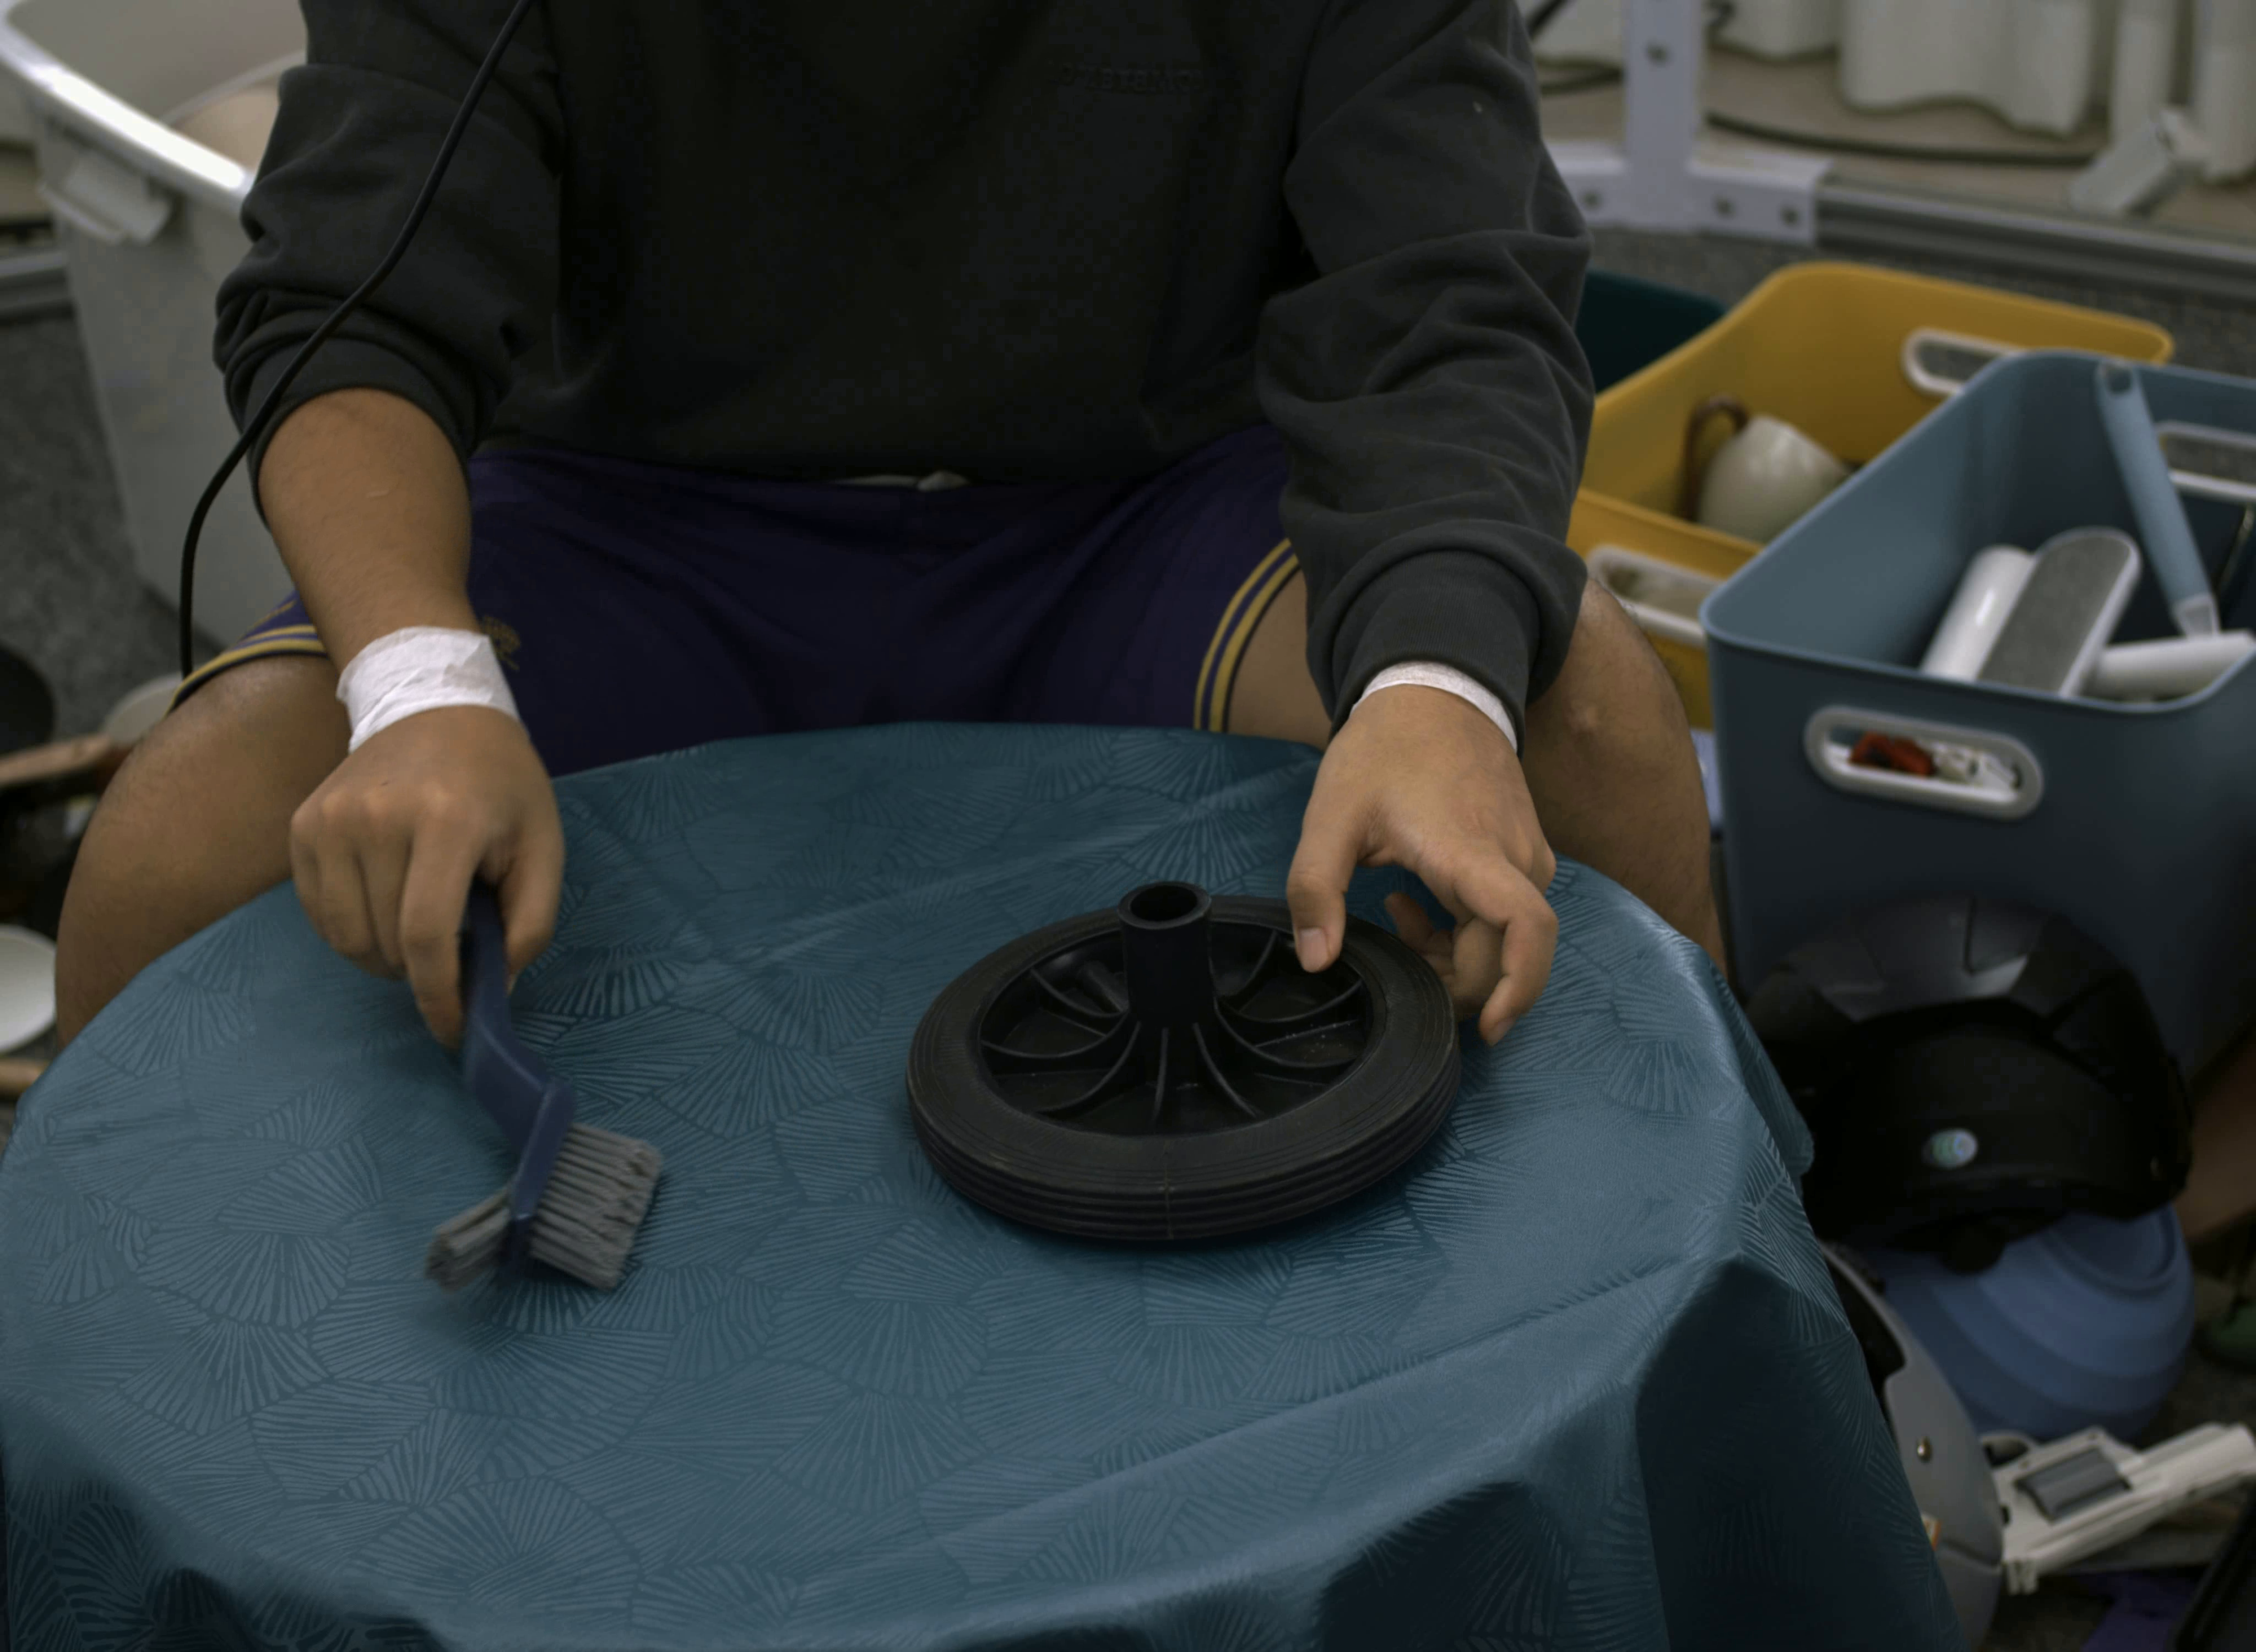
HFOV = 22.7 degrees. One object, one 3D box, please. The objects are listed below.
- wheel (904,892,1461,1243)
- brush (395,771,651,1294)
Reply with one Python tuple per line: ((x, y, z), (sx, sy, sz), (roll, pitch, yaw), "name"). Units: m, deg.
((0.016, 0.064, 1.890), (0.189, 0.078, 0.190), (15, 36, 35), "wheel")
((-0.223, 0.067, 1.919), (0.096, 0.033, 0.277), (5, 32, -22), "brush")
